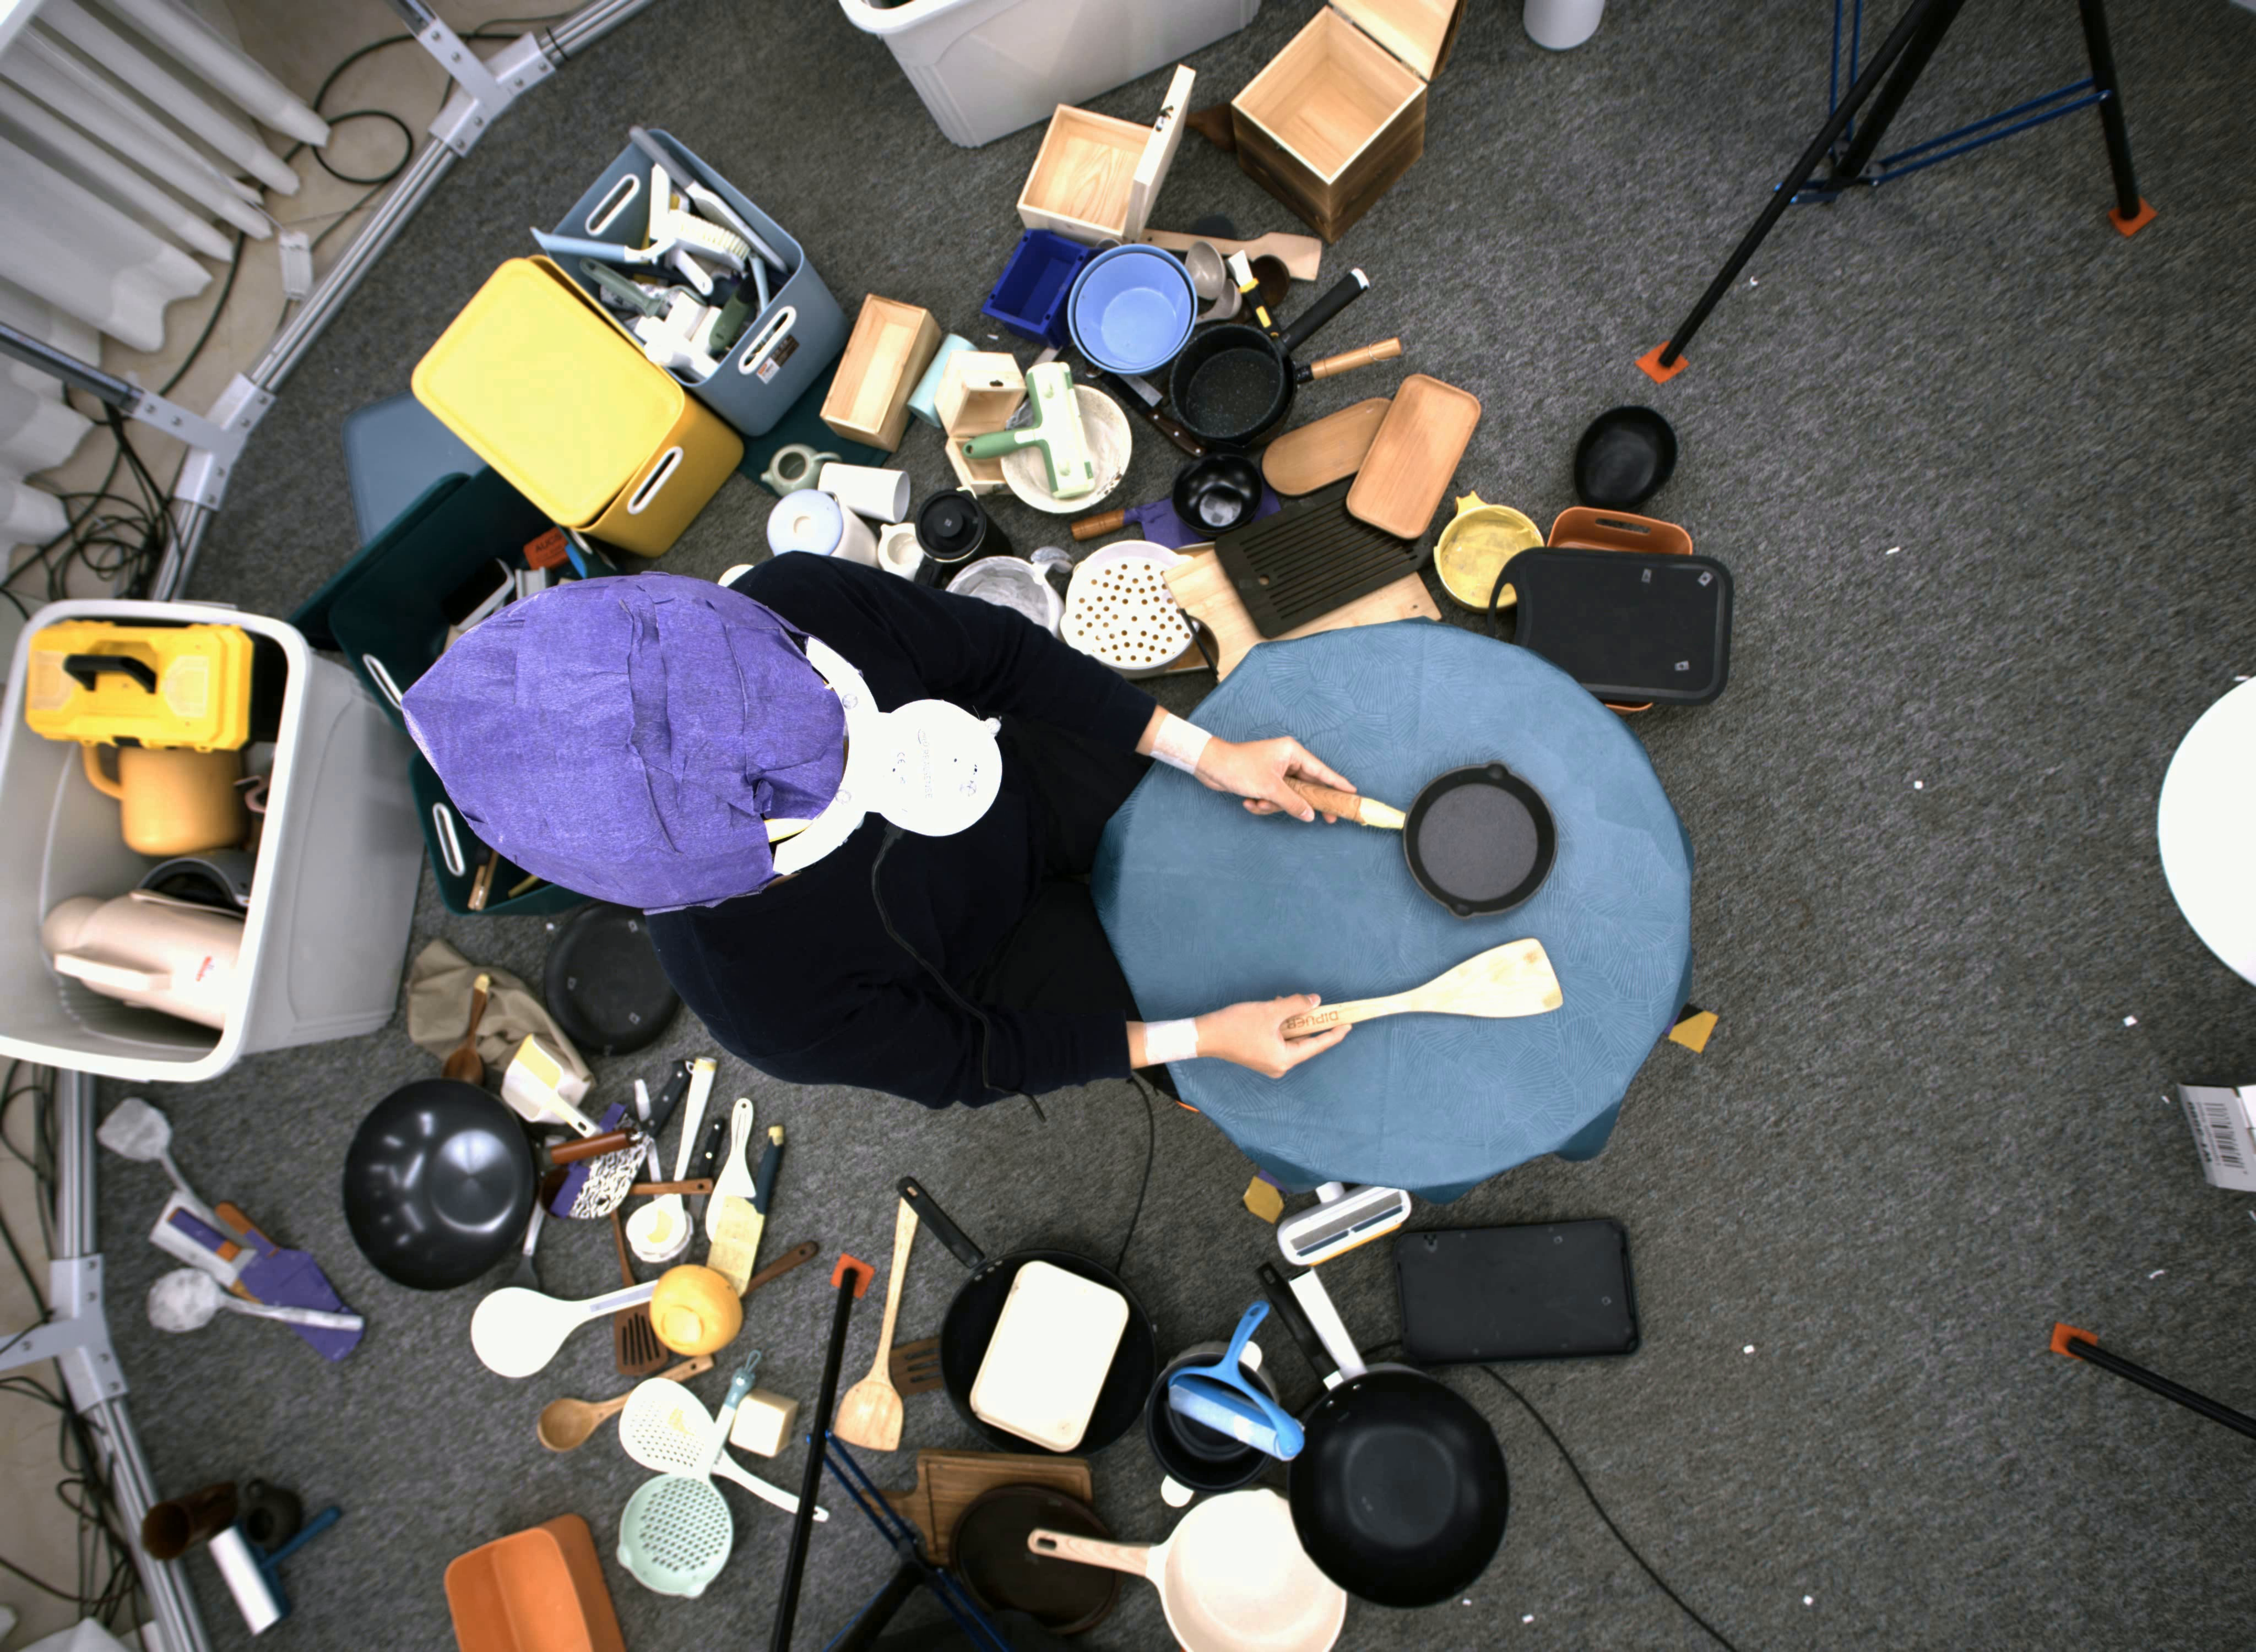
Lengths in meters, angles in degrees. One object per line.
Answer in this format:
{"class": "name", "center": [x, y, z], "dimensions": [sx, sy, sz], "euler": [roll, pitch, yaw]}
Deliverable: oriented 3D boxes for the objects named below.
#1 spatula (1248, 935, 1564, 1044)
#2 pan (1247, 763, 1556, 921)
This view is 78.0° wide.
{"class": "spatula", "center": [0.283, 0.177, 1.418], "dimensions": [0.328, 0.016, 0.080], "euler": [-12, 93, -1]}
{"class": "pan", "center": [0.282, -0.009, 1.436], "dimensions": [0.324, 0.049, 0.169], "euler": [17, 90, 9]}
